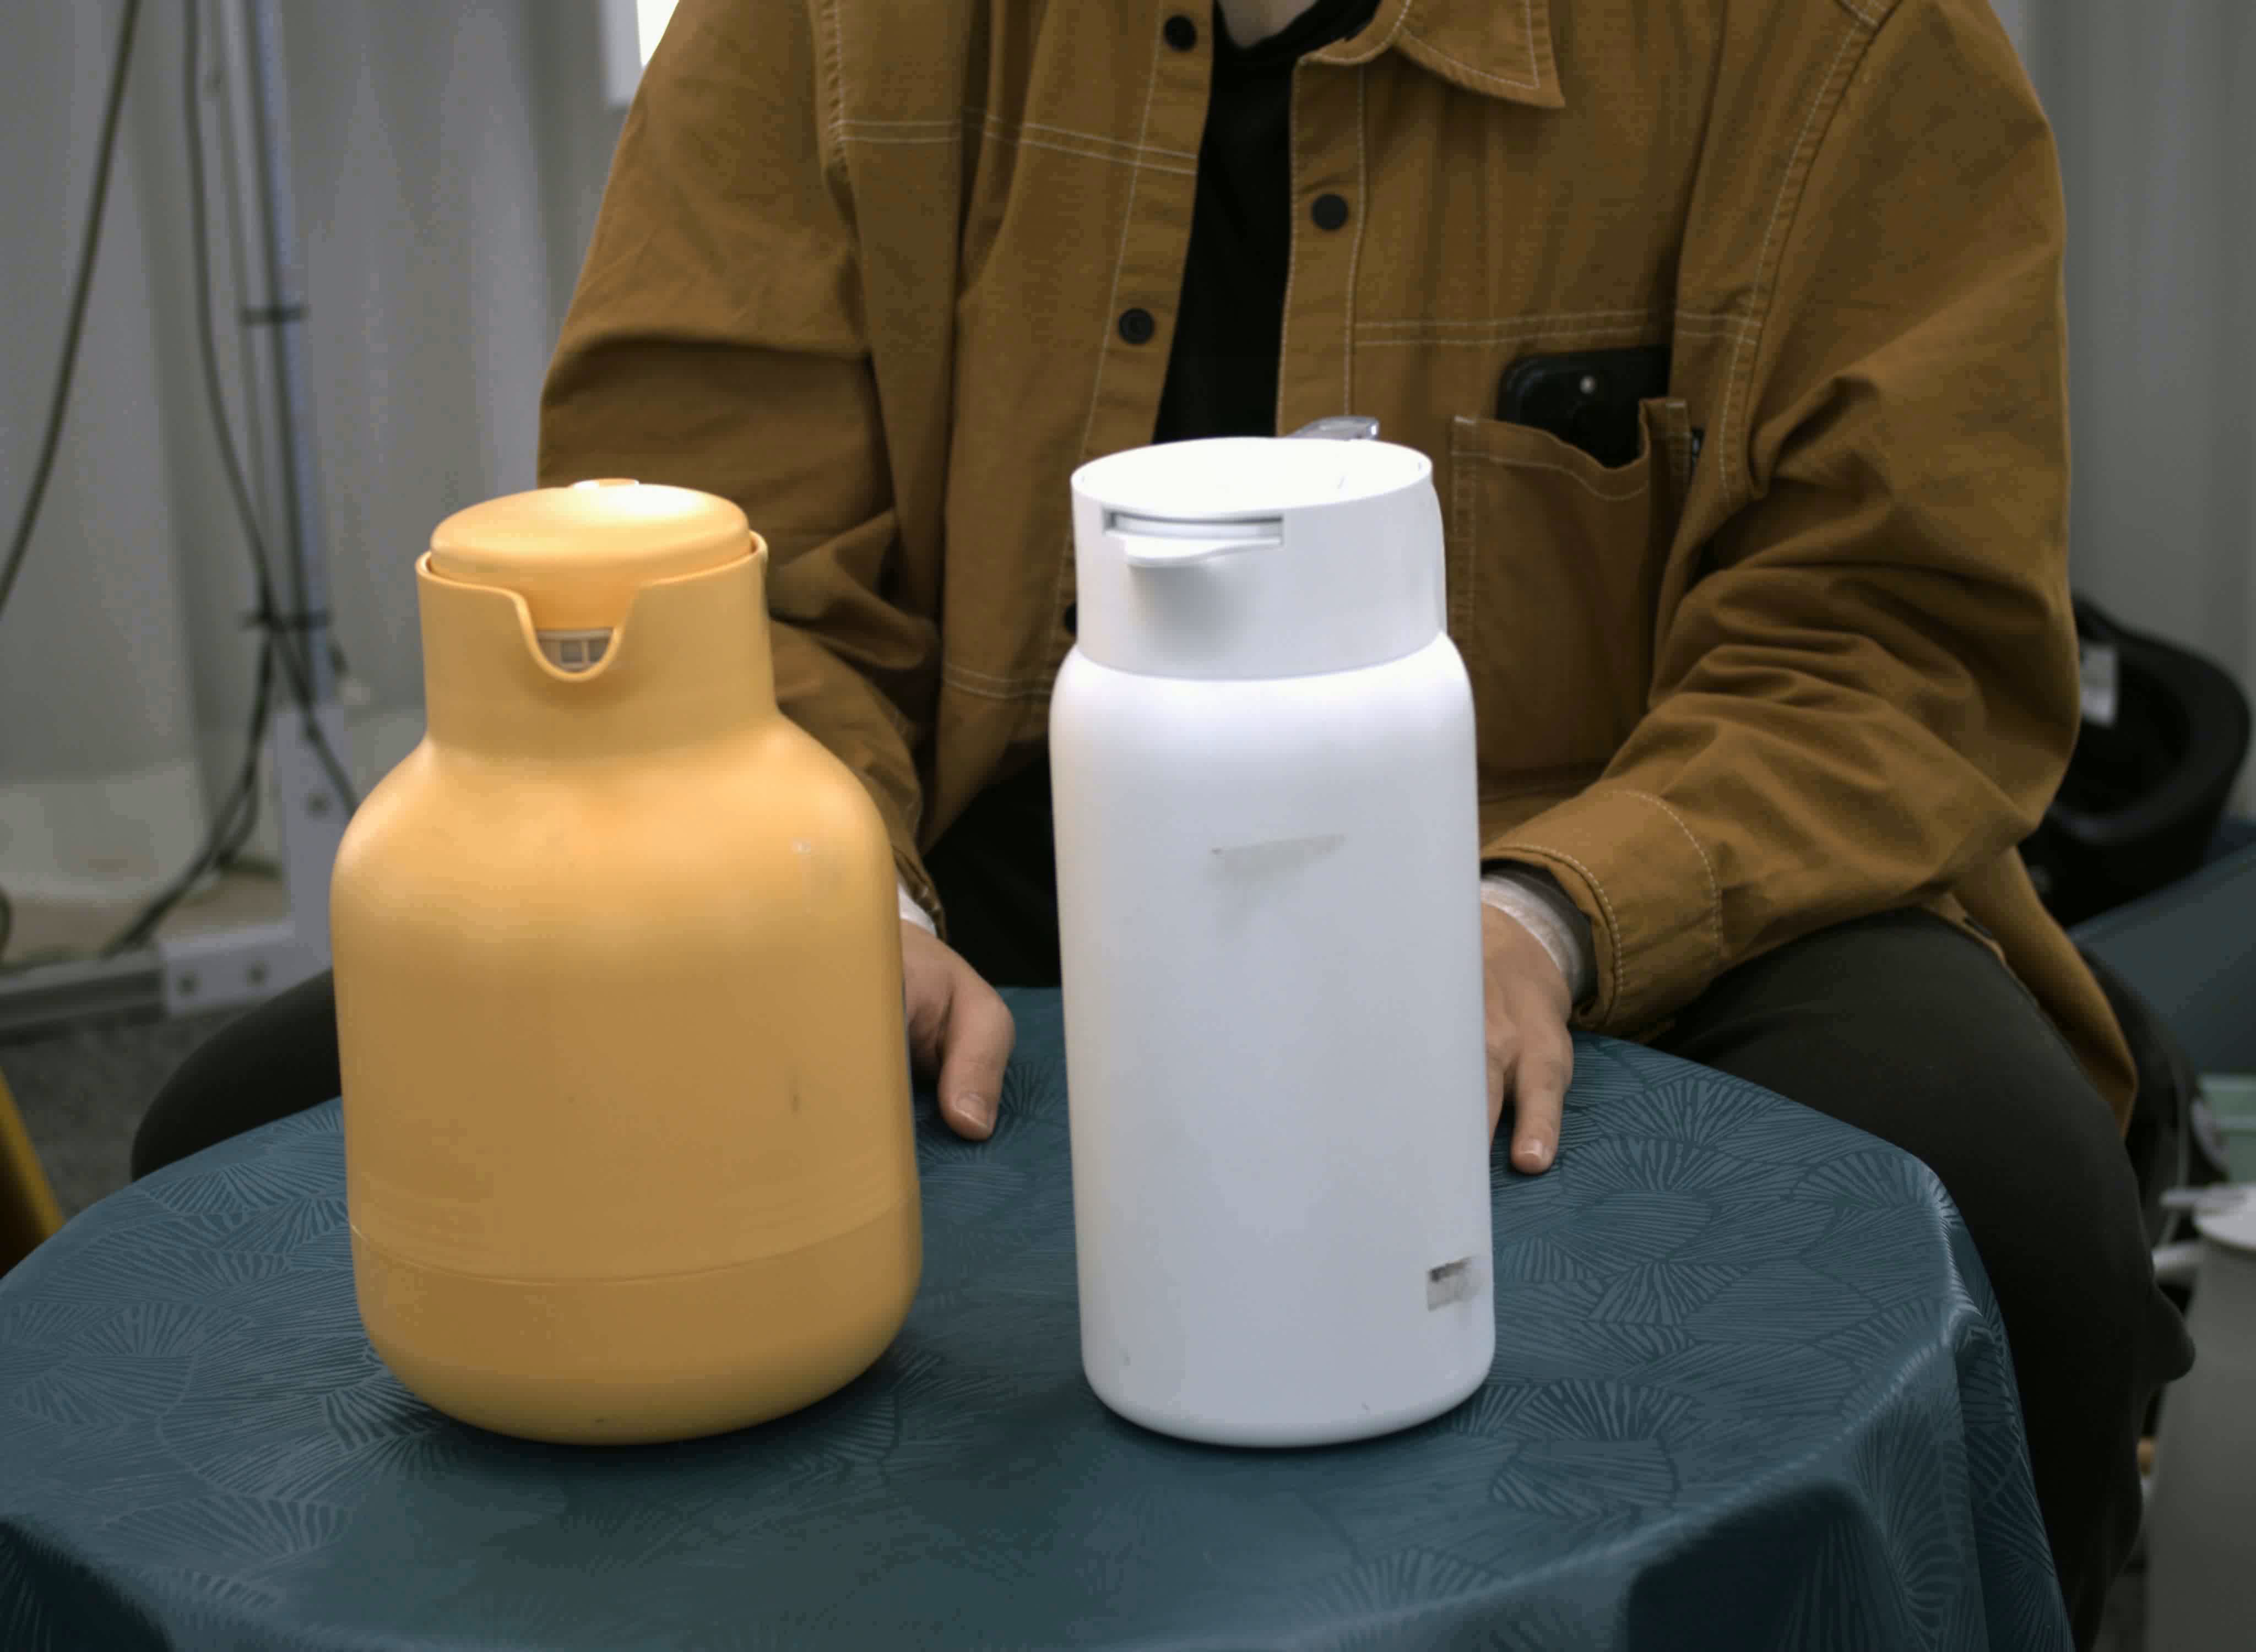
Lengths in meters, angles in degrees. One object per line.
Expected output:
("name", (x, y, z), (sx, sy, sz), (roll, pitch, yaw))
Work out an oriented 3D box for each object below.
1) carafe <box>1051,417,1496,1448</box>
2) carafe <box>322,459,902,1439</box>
("carafe", (0.046, 0.025, 1.527), (0.124, 0.268, 0.173), (1, 14, 25))
("carafe", (-0.144, 0.026, 1.562), (0.163, 0.259, 0.204), (1, 16, 1))
